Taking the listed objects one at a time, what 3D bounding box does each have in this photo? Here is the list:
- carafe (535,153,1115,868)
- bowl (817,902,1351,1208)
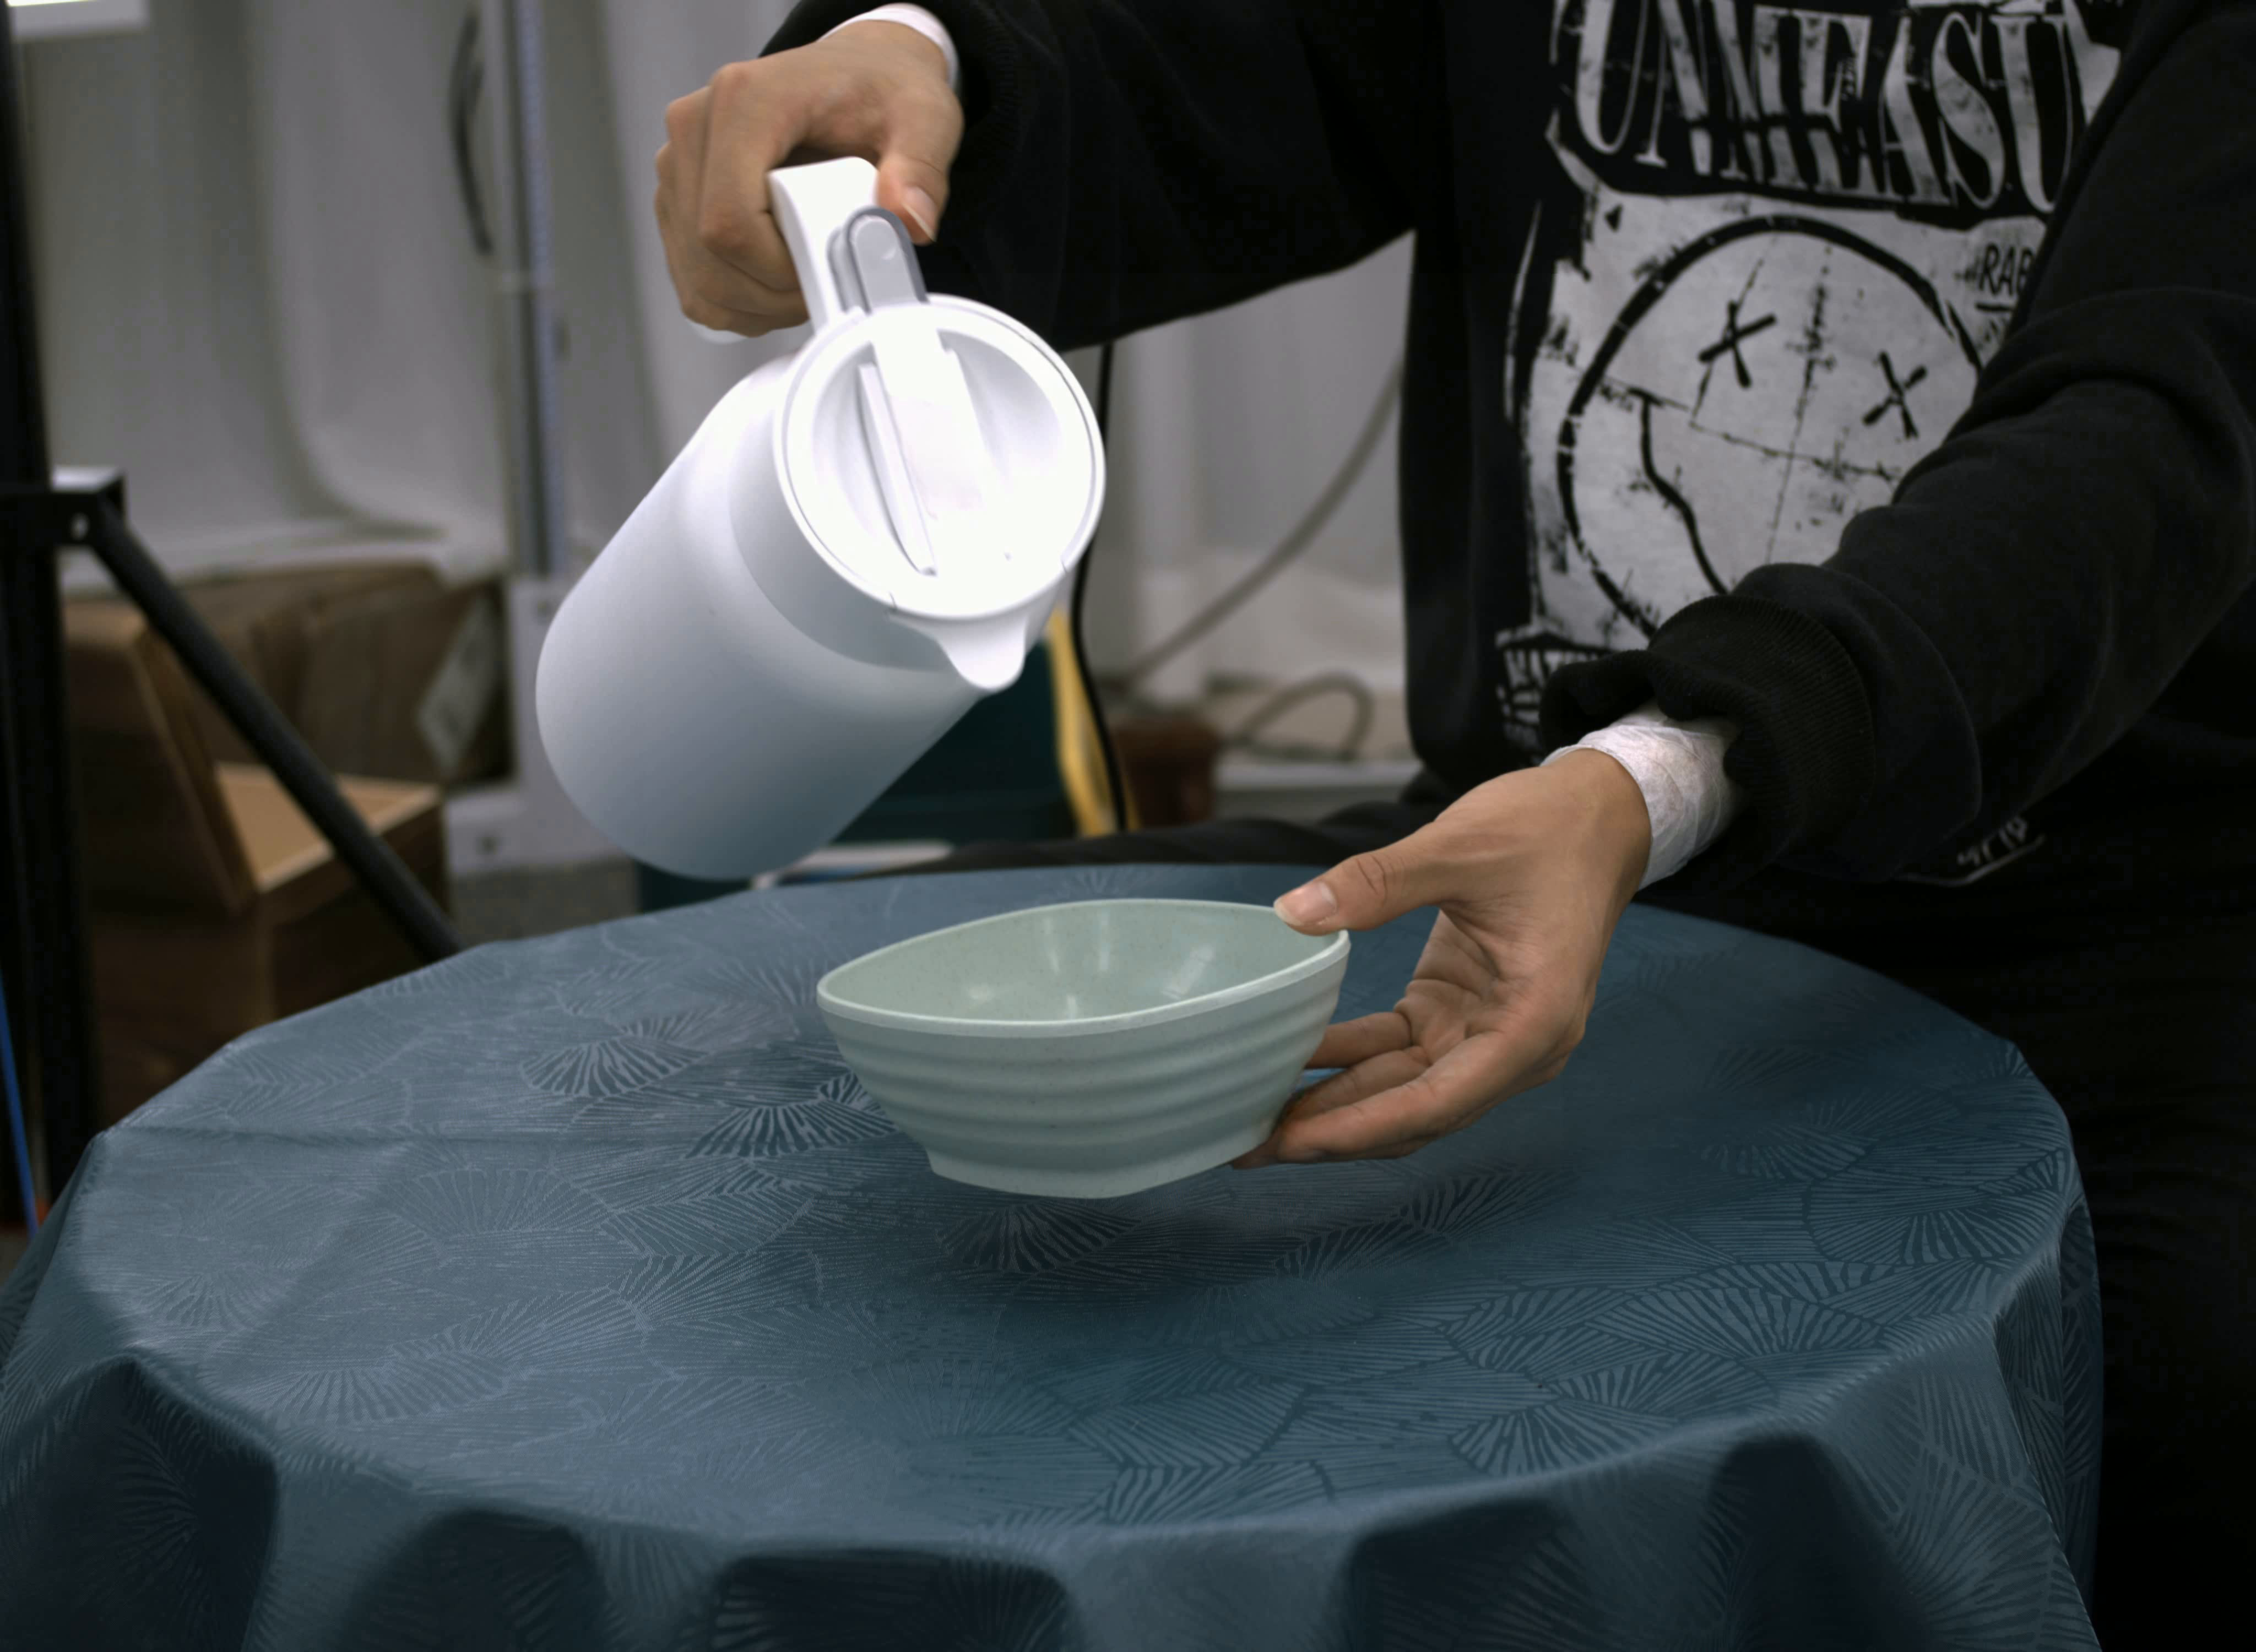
[{"bbox_3d":[-0.100,-0.089,1.622,0.121,0.174,0.271,-14,-9,-20],"label":"carafe"},{"bbox_3d":[-0.010,0.067,1.496,0.151,0.059,0.152,-6,12,0],"label":"bowl"}]
